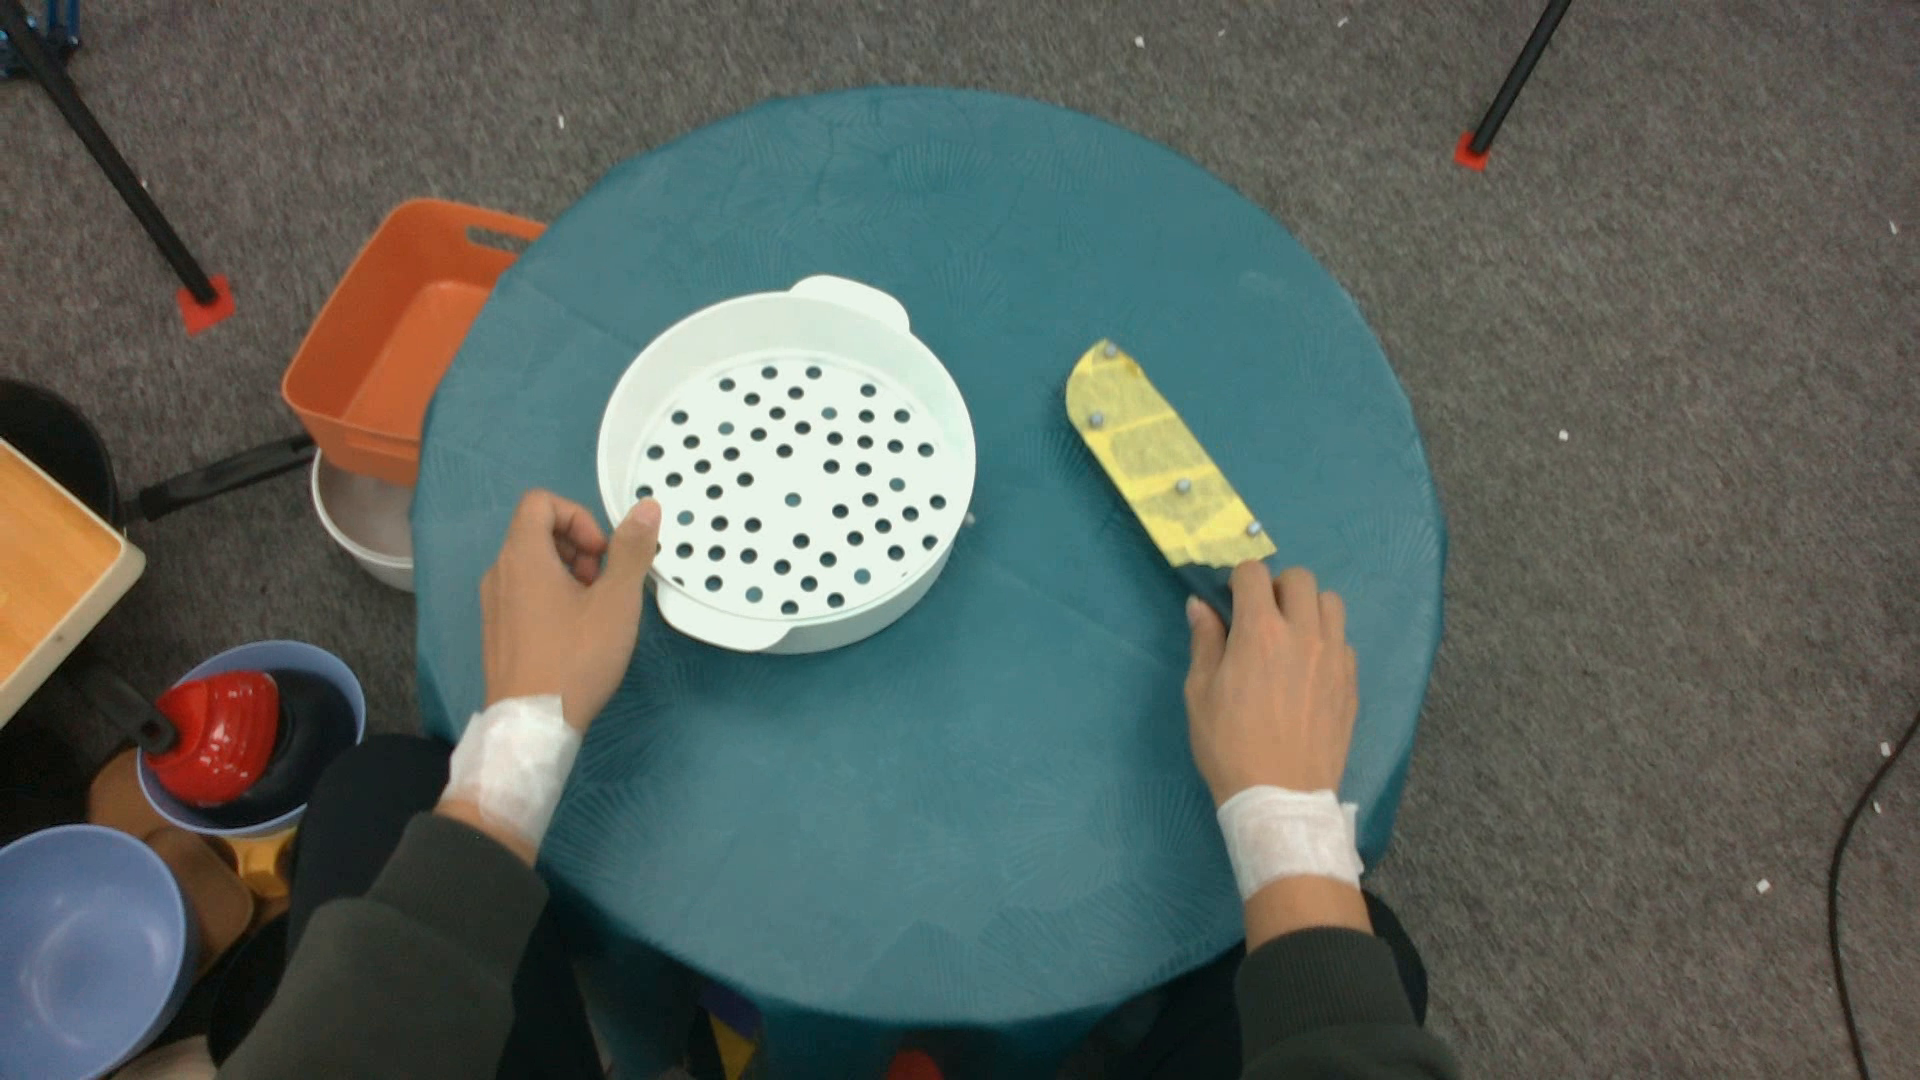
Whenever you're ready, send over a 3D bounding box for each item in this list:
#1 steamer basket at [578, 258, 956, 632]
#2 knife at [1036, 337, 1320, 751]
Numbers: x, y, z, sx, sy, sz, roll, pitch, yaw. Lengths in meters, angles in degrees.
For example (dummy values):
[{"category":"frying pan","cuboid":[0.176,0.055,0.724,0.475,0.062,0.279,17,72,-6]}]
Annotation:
[{"category":"steamer basket","cuboid":[-0.105,-0.047,0.767,0.202,0.069,0.231,18,66,3]},{"category":"knife","cuboid":[0.128,-0.009,0.796,0.081,0.027,0.290,-19,66,-25]}]
